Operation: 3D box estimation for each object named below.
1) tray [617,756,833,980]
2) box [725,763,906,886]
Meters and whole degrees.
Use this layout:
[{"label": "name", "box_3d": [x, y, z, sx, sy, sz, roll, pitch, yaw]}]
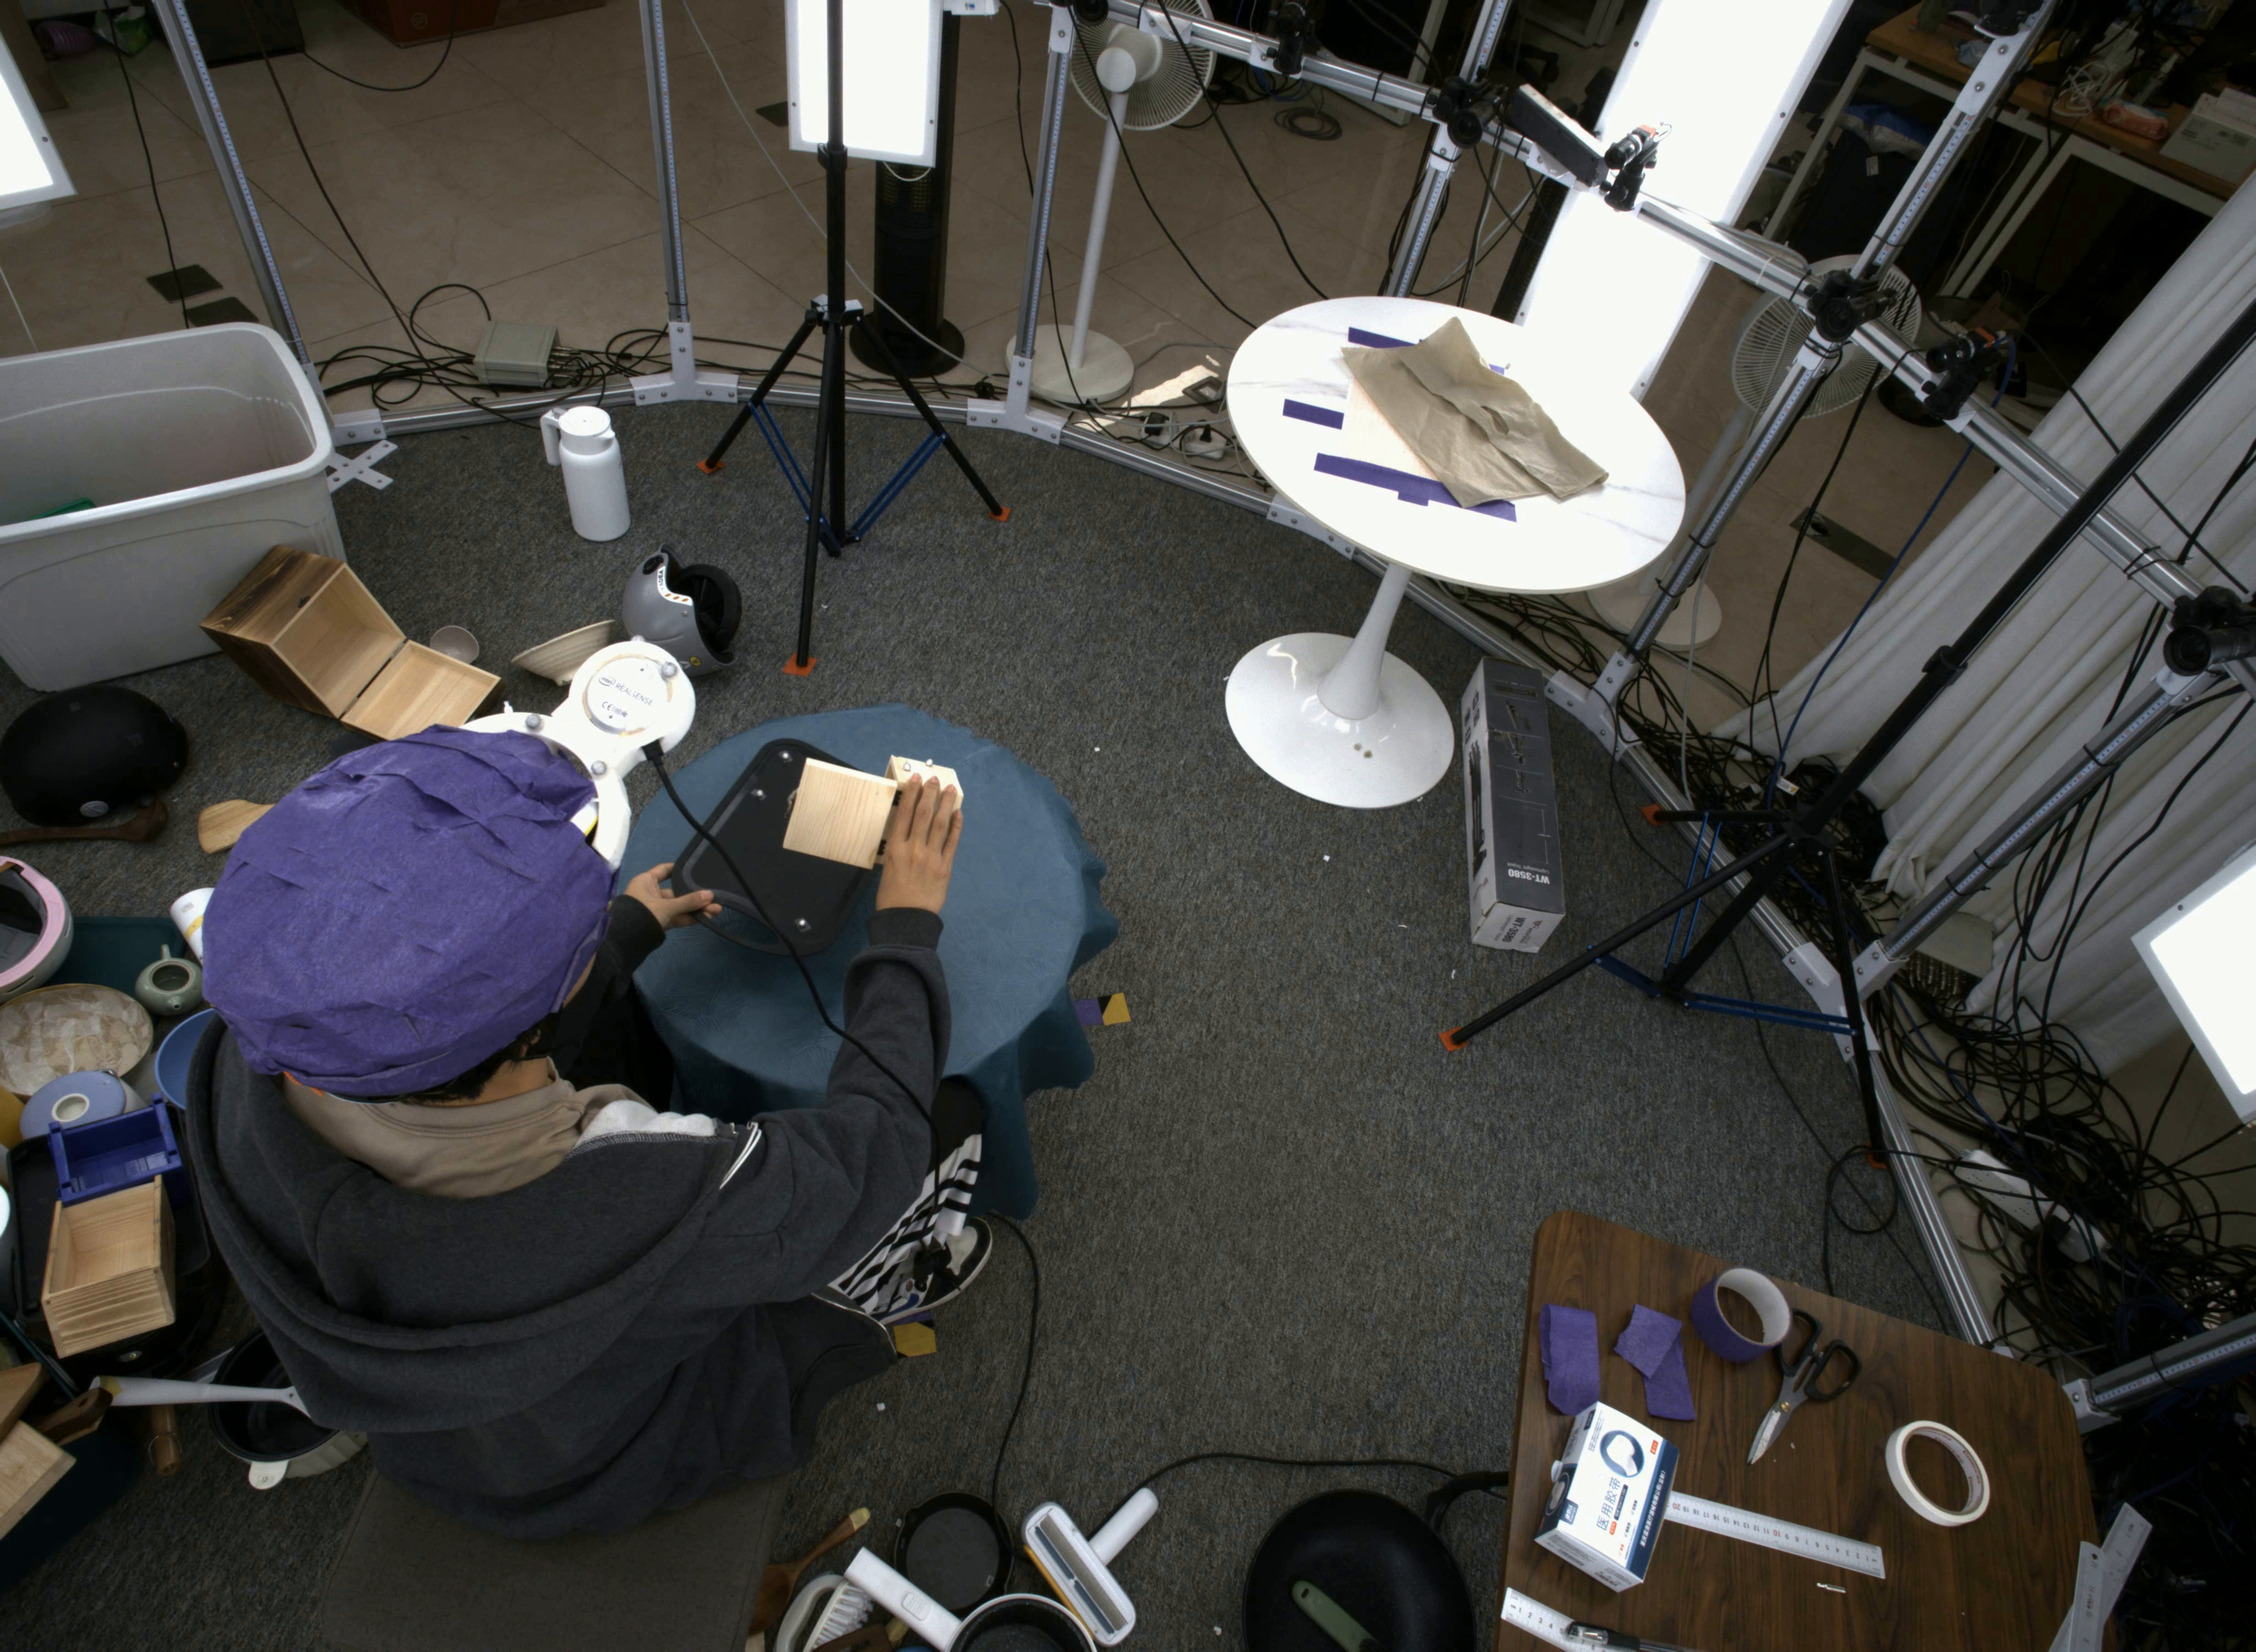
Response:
[{"label": "tray", "box_3d": [-0.469, 0.045, 1.558, 0.211, 0.010, 0.321, 26, 44, -7]}, {"label": "box", "box_3d": [-0.353, -0.010, 1.452, 0.187, 0.104, 0.129, 11, 16, -24]}]
